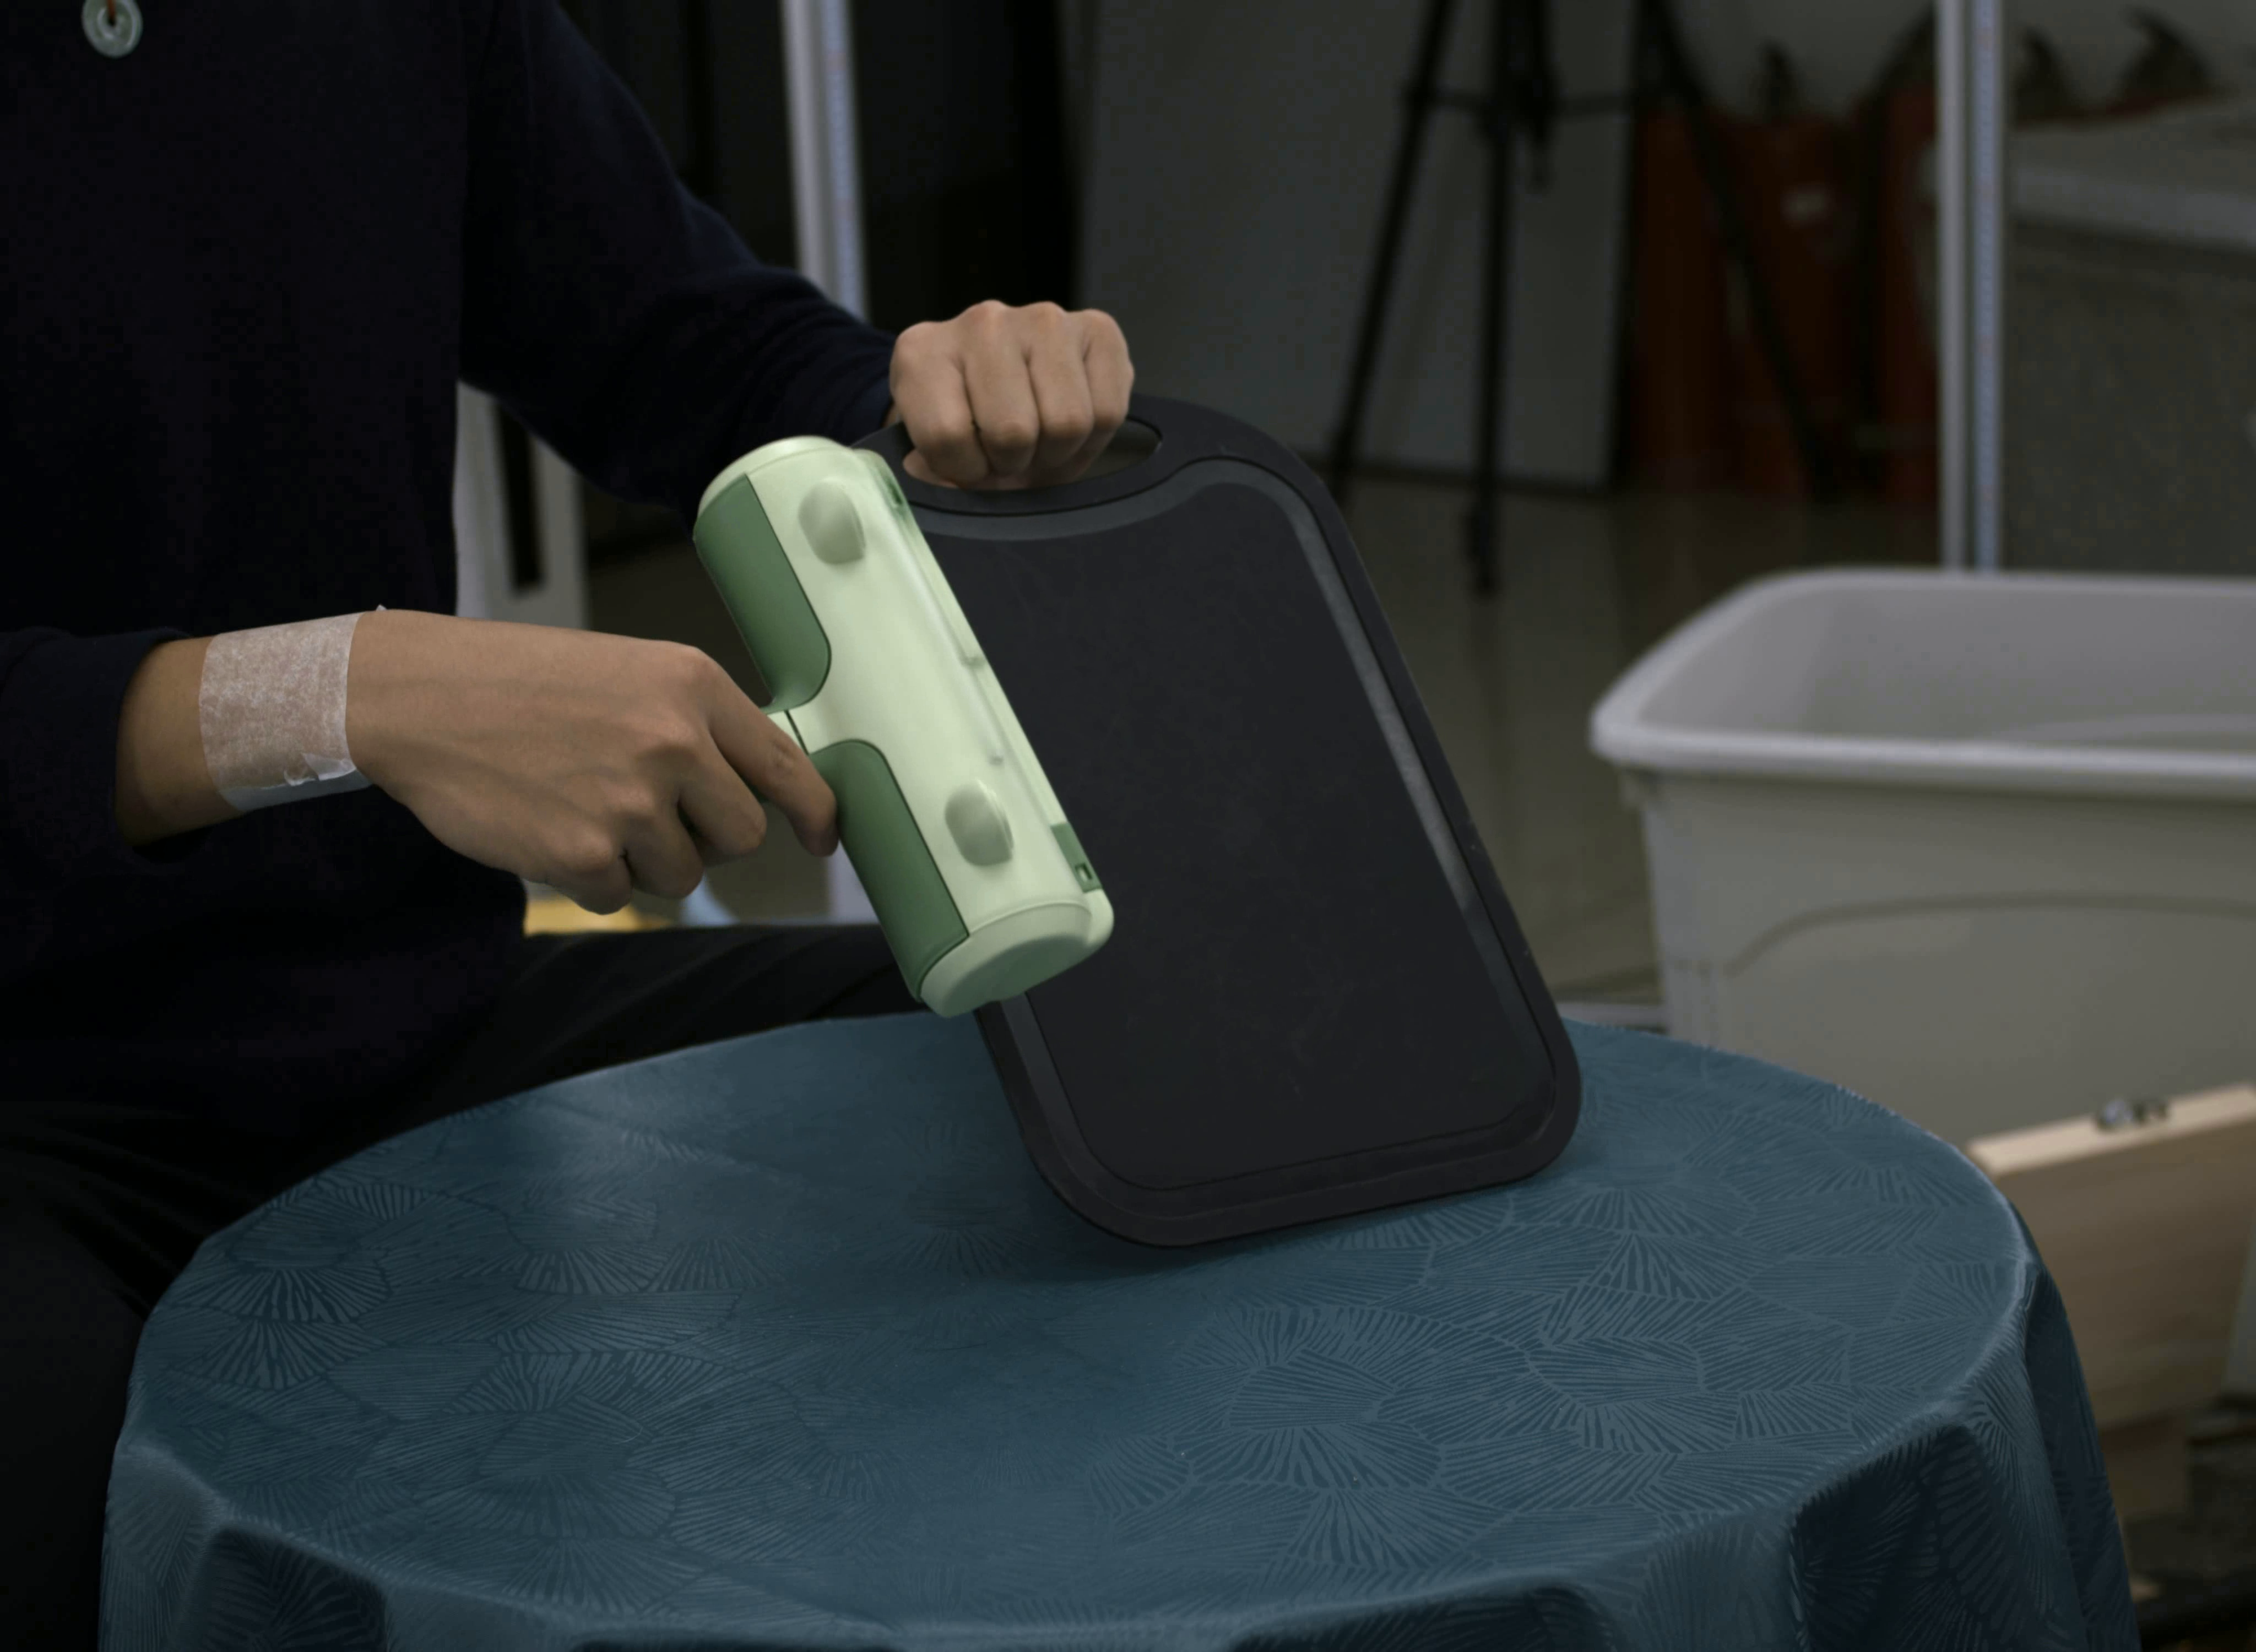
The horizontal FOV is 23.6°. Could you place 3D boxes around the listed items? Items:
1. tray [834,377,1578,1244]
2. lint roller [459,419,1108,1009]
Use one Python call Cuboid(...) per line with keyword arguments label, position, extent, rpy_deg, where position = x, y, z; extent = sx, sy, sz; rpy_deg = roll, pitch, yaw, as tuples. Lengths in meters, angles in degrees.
Cuboid(label="tray", position=(0.016, -0.015, 1.785), extent=(0.206, 0.330, 0.010), rpy_deg=(-8, -28, -28))
Cuboid(label="lint roller", position=(-0.117, -0.033, 1.673), extent=(0.179, 0.201, 0.083), rpy_deg=(-10, -28, -36))
